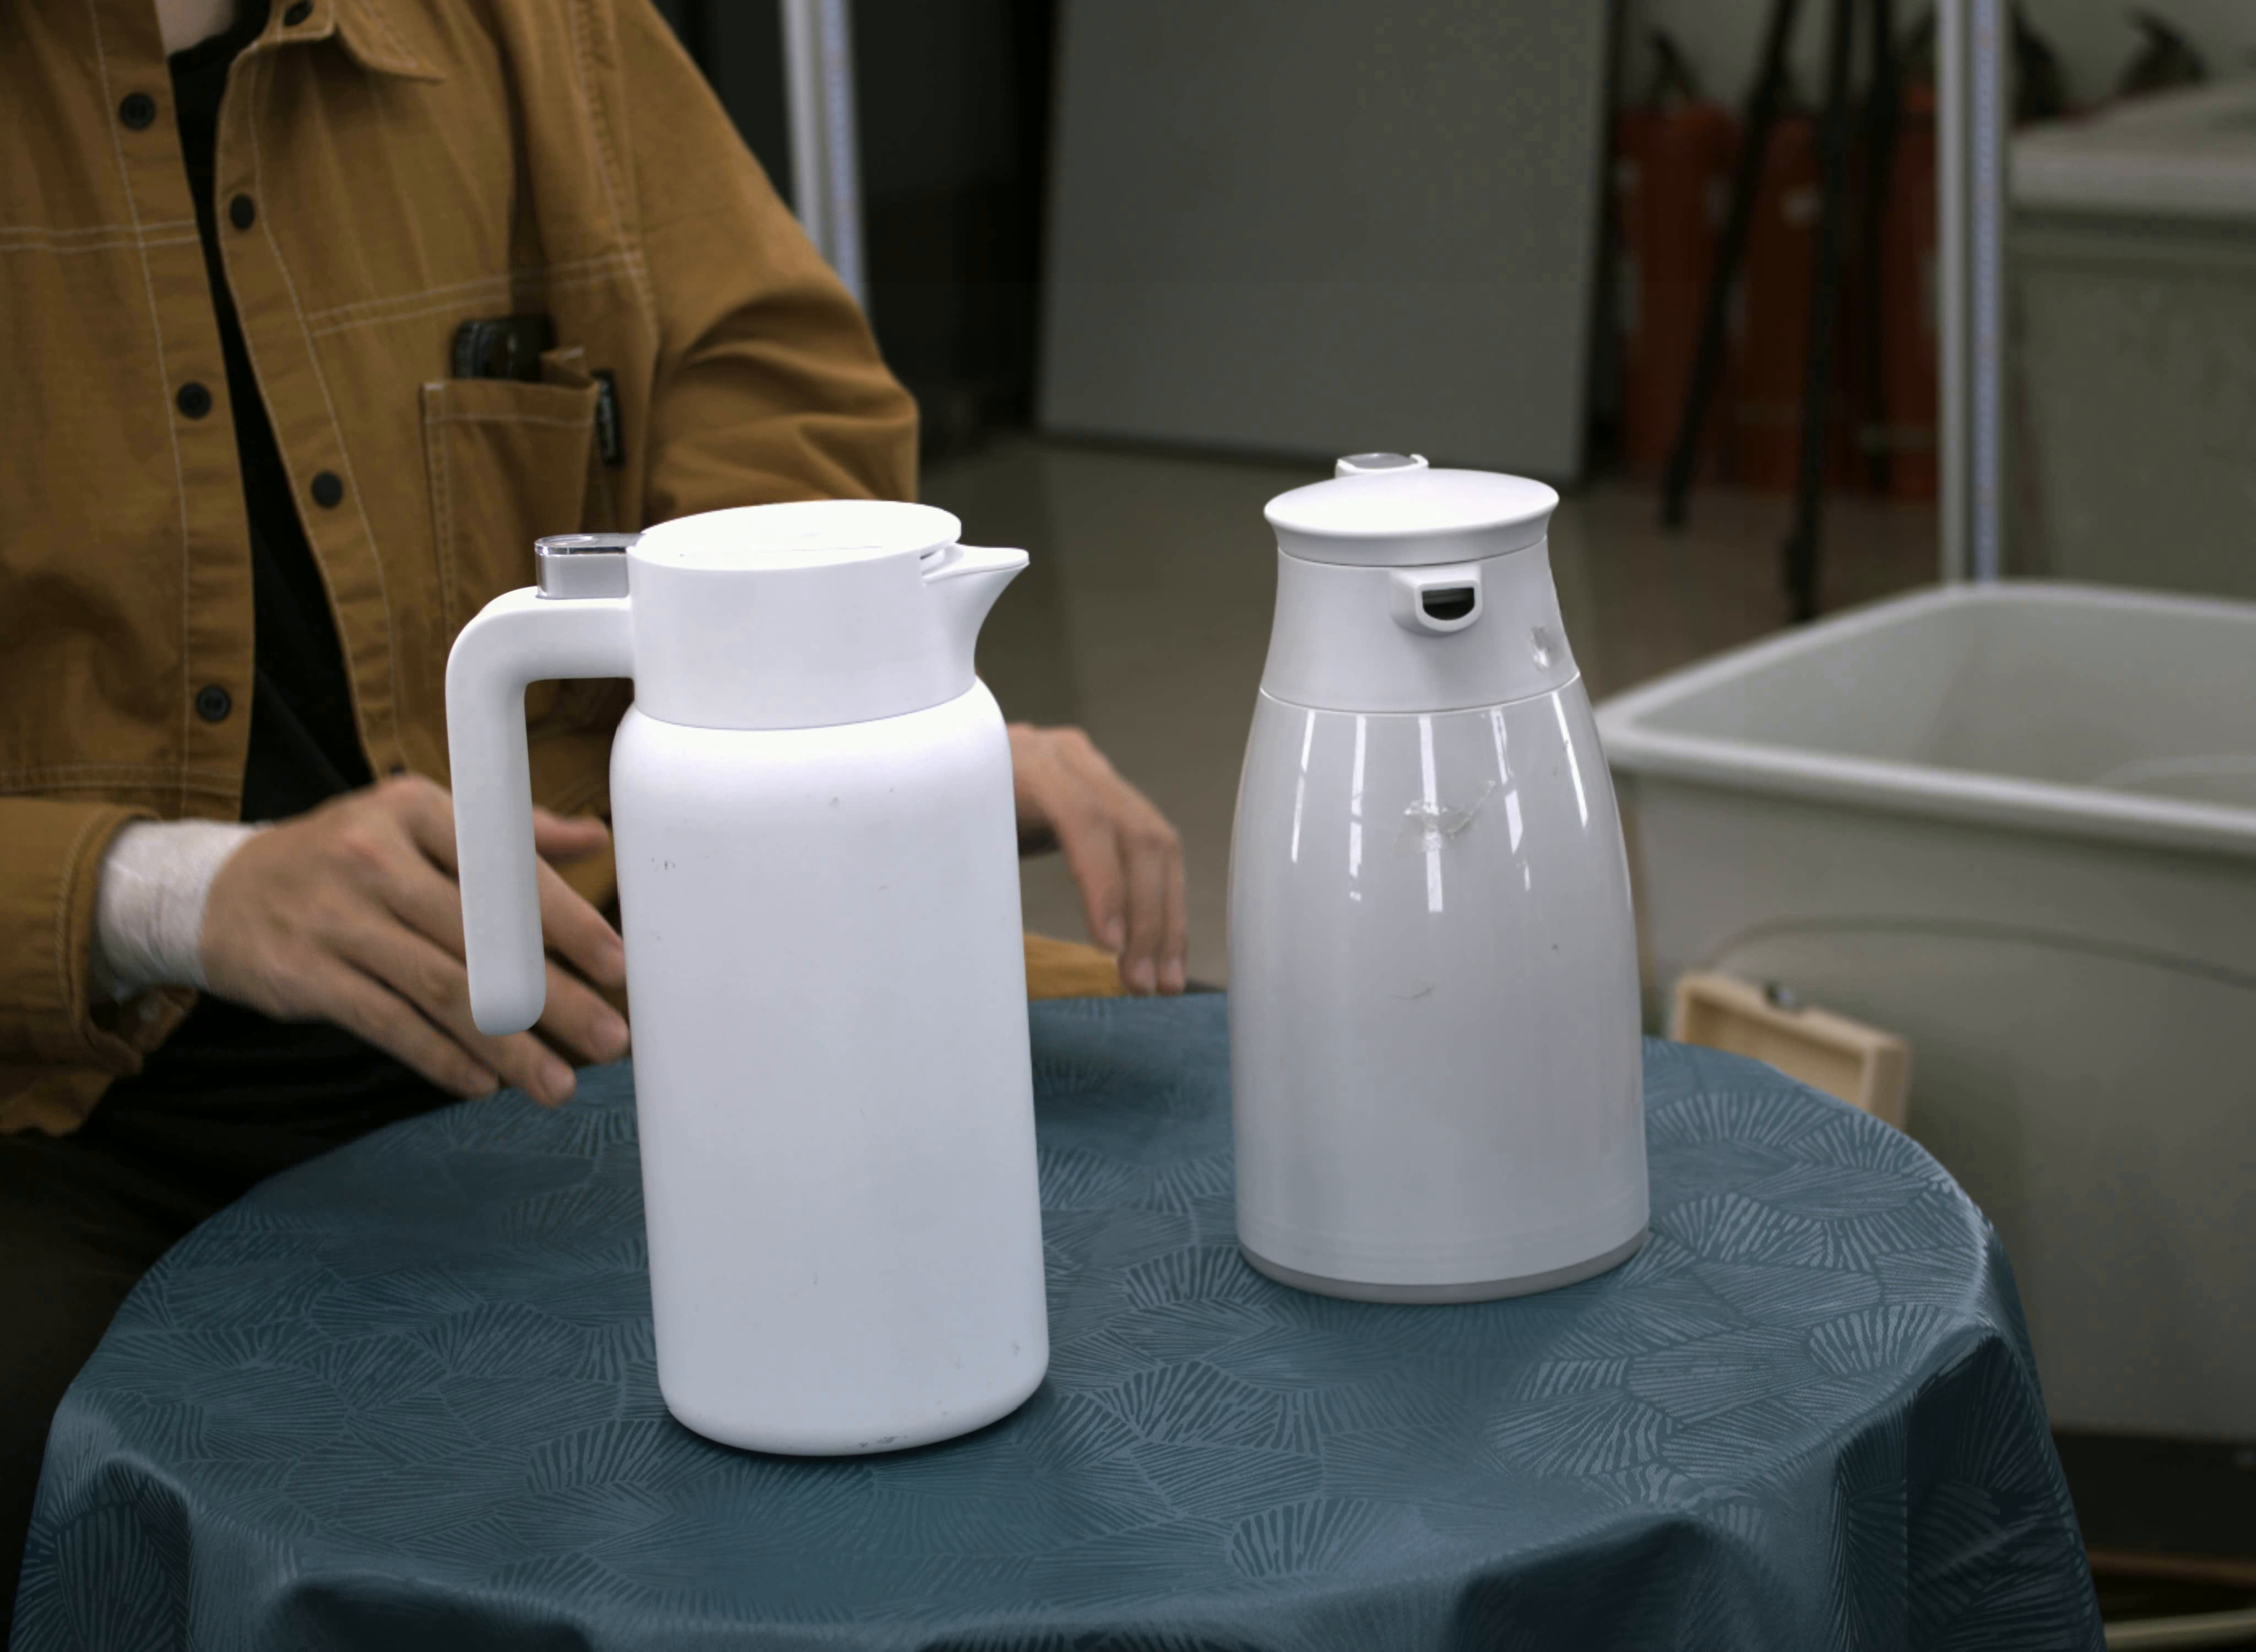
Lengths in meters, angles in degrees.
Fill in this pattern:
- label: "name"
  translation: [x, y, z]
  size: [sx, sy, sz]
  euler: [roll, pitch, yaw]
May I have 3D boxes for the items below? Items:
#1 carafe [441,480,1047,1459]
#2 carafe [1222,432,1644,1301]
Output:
- label: "carafe"
  translation: [-0.106, 0.041, 1.570]
  size: [0.171, 0.272, 0.123]
  euler: [-3, 15, 7]
- label: "carafe"
  translation: [0.088, 0.005, 1.696]
  size: [0.130, 0.251, 0.168]
  euler: [-5, 13, -6]
